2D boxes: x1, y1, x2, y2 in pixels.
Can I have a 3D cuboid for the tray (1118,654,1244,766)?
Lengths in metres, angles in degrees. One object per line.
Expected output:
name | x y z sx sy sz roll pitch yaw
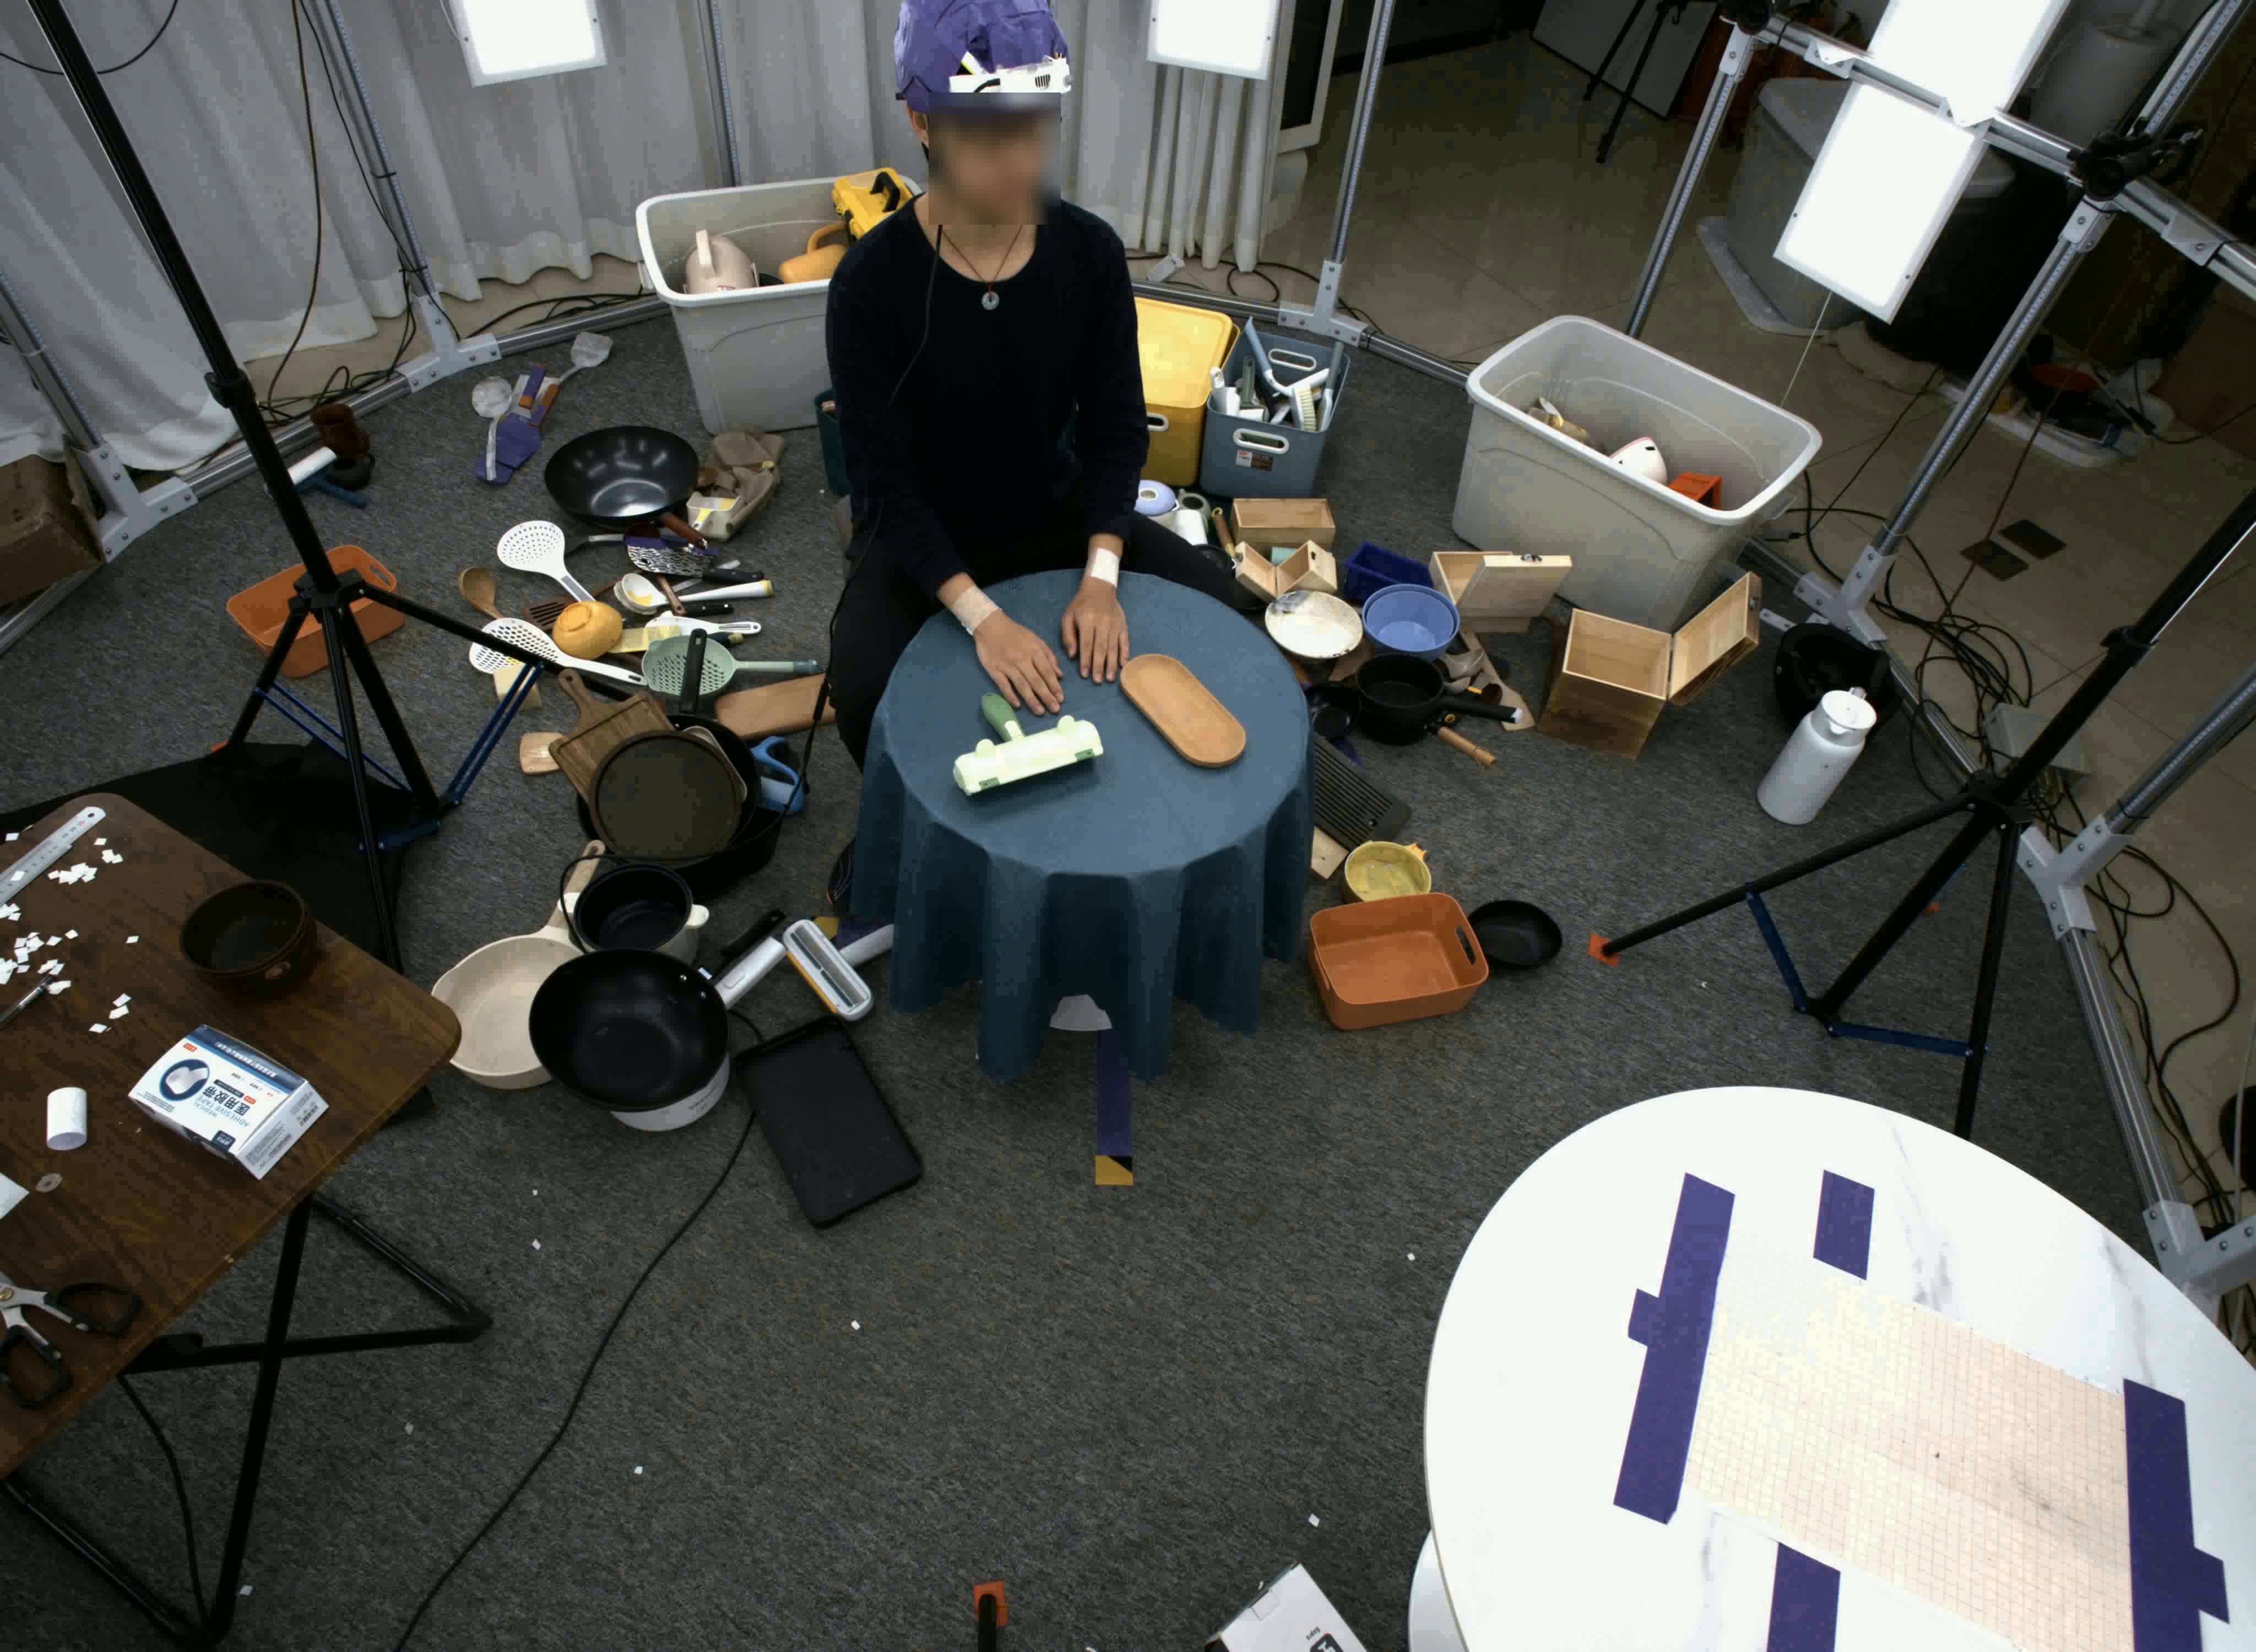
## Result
tray | 0.073 -0.166 1.807 0.102 0.020 0.236 -25 54 -24

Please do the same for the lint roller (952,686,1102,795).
lint roller | -0.157 -0.139 1.722 0.199 0.080 0.187 -18 58 -20
